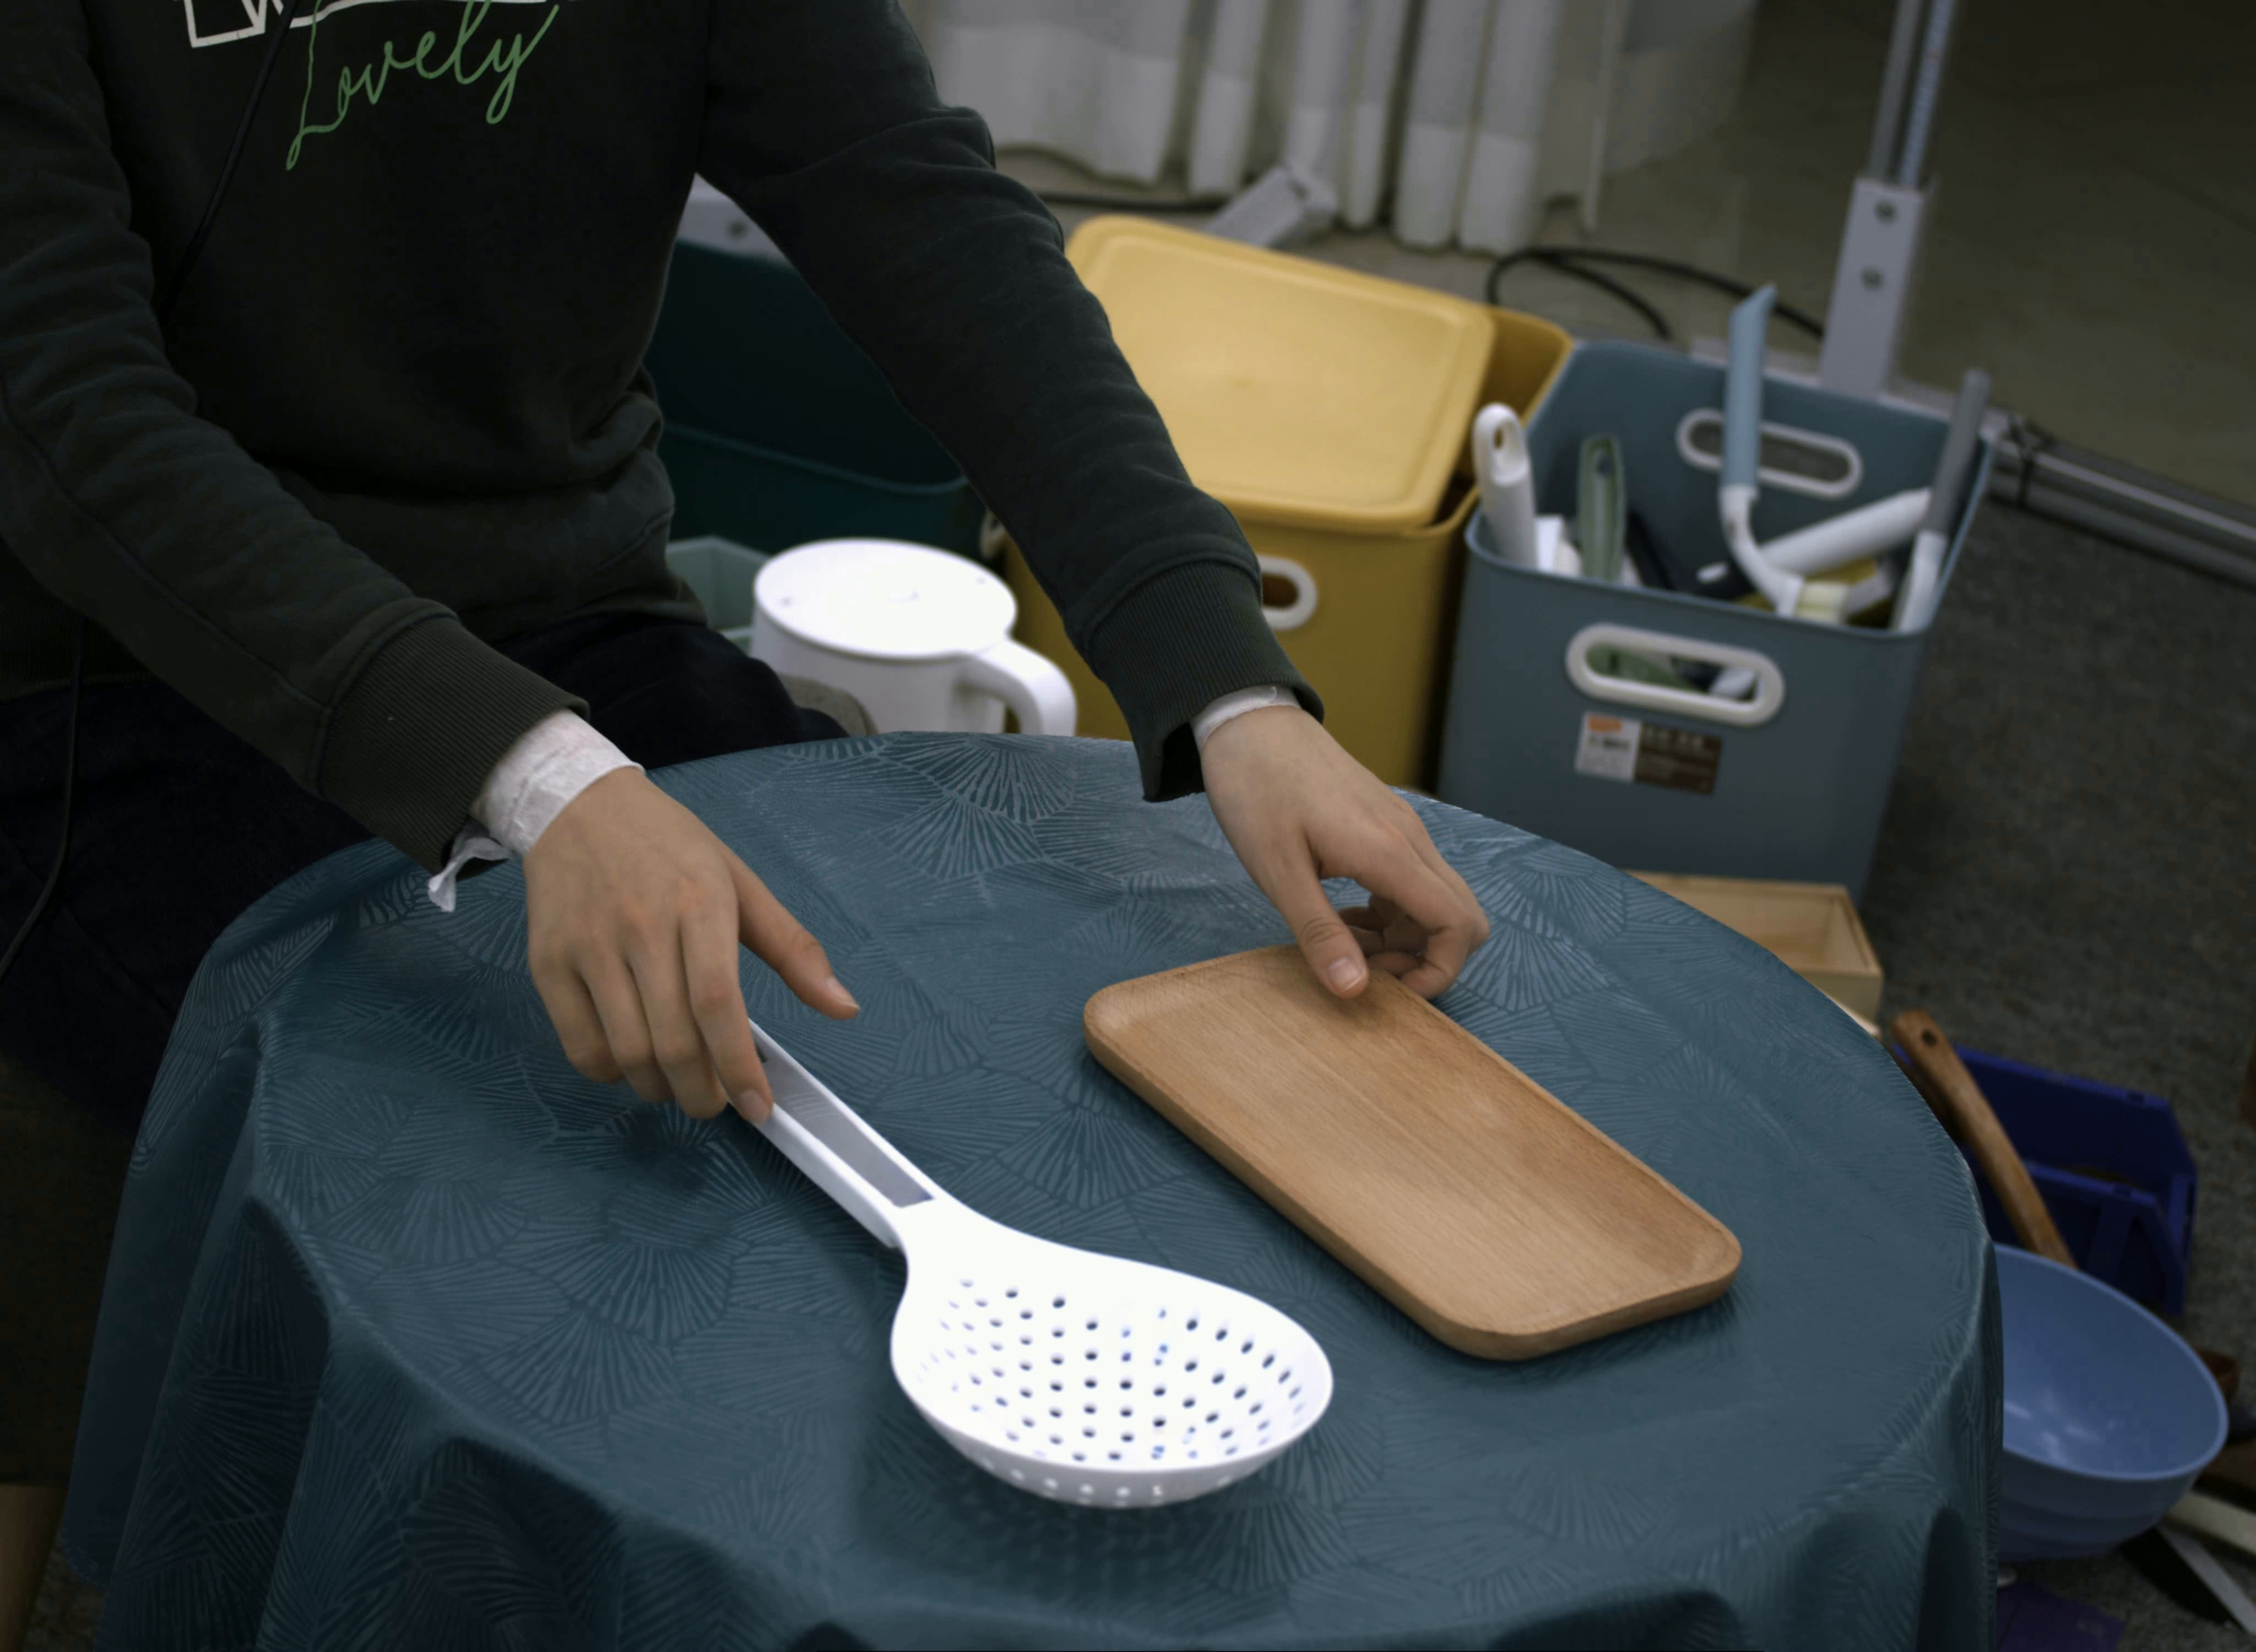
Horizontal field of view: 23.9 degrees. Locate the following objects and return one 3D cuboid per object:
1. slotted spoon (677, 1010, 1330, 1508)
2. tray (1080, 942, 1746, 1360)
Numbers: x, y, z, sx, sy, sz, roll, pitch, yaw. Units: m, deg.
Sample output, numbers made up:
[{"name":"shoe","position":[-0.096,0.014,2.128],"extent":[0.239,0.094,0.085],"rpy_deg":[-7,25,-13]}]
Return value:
[{"name":"slotted spoon","position":[-0.061,0.133,1.717],"extent":[0.135,0.045,0.353],"rpy_deg":[-7,29,-30]},{"name":"tray","position":[0.094,0.109,1.832],"extent":[0.130,0.023,0.253],"rpy_deg":[-10,30,-33]}]
